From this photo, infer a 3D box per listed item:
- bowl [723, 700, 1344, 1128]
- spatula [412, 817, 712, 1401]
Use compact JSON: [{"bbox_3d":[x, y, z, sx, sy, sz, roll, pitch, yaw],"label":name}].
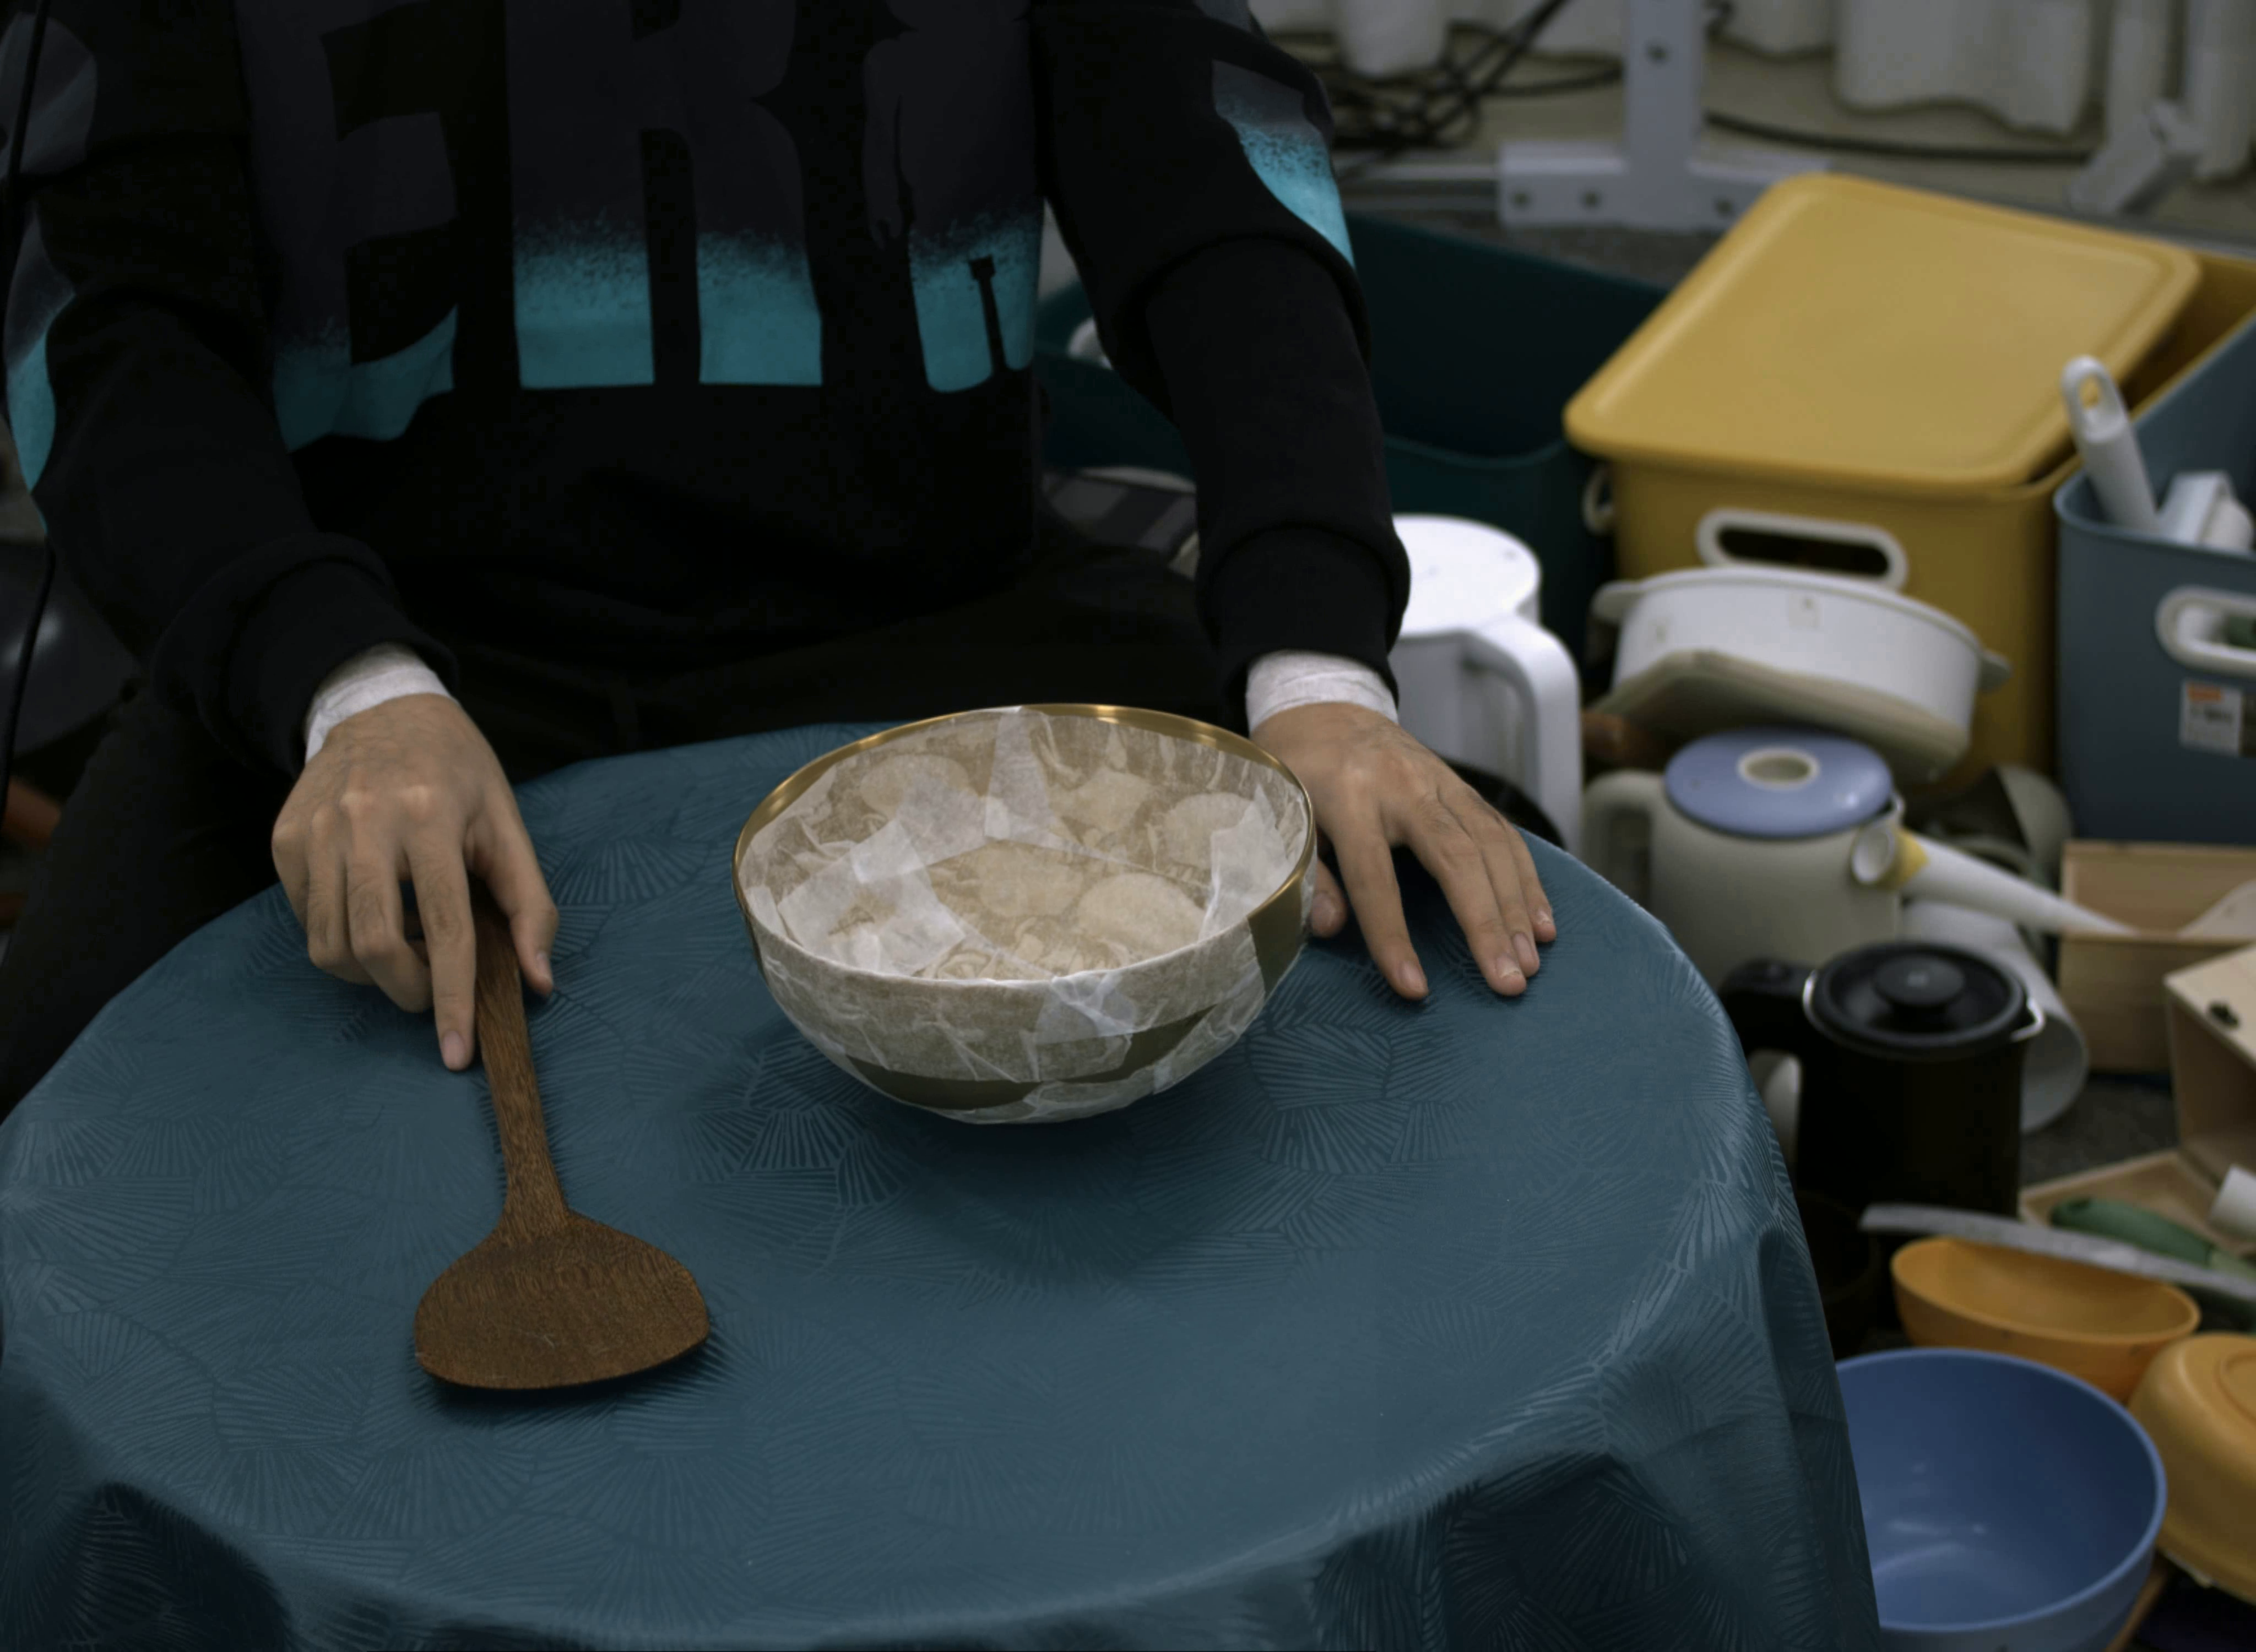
[{"bbox_3d":[-0.029,0.042,1.919,0.213,0.093,0.218,-4,25,2],"label":"bowl"},{"bbox_3d":[-0.211,0.088,1.924,0.096,0.015,0.391,-7,30,-9],"label":"spatula"}]
